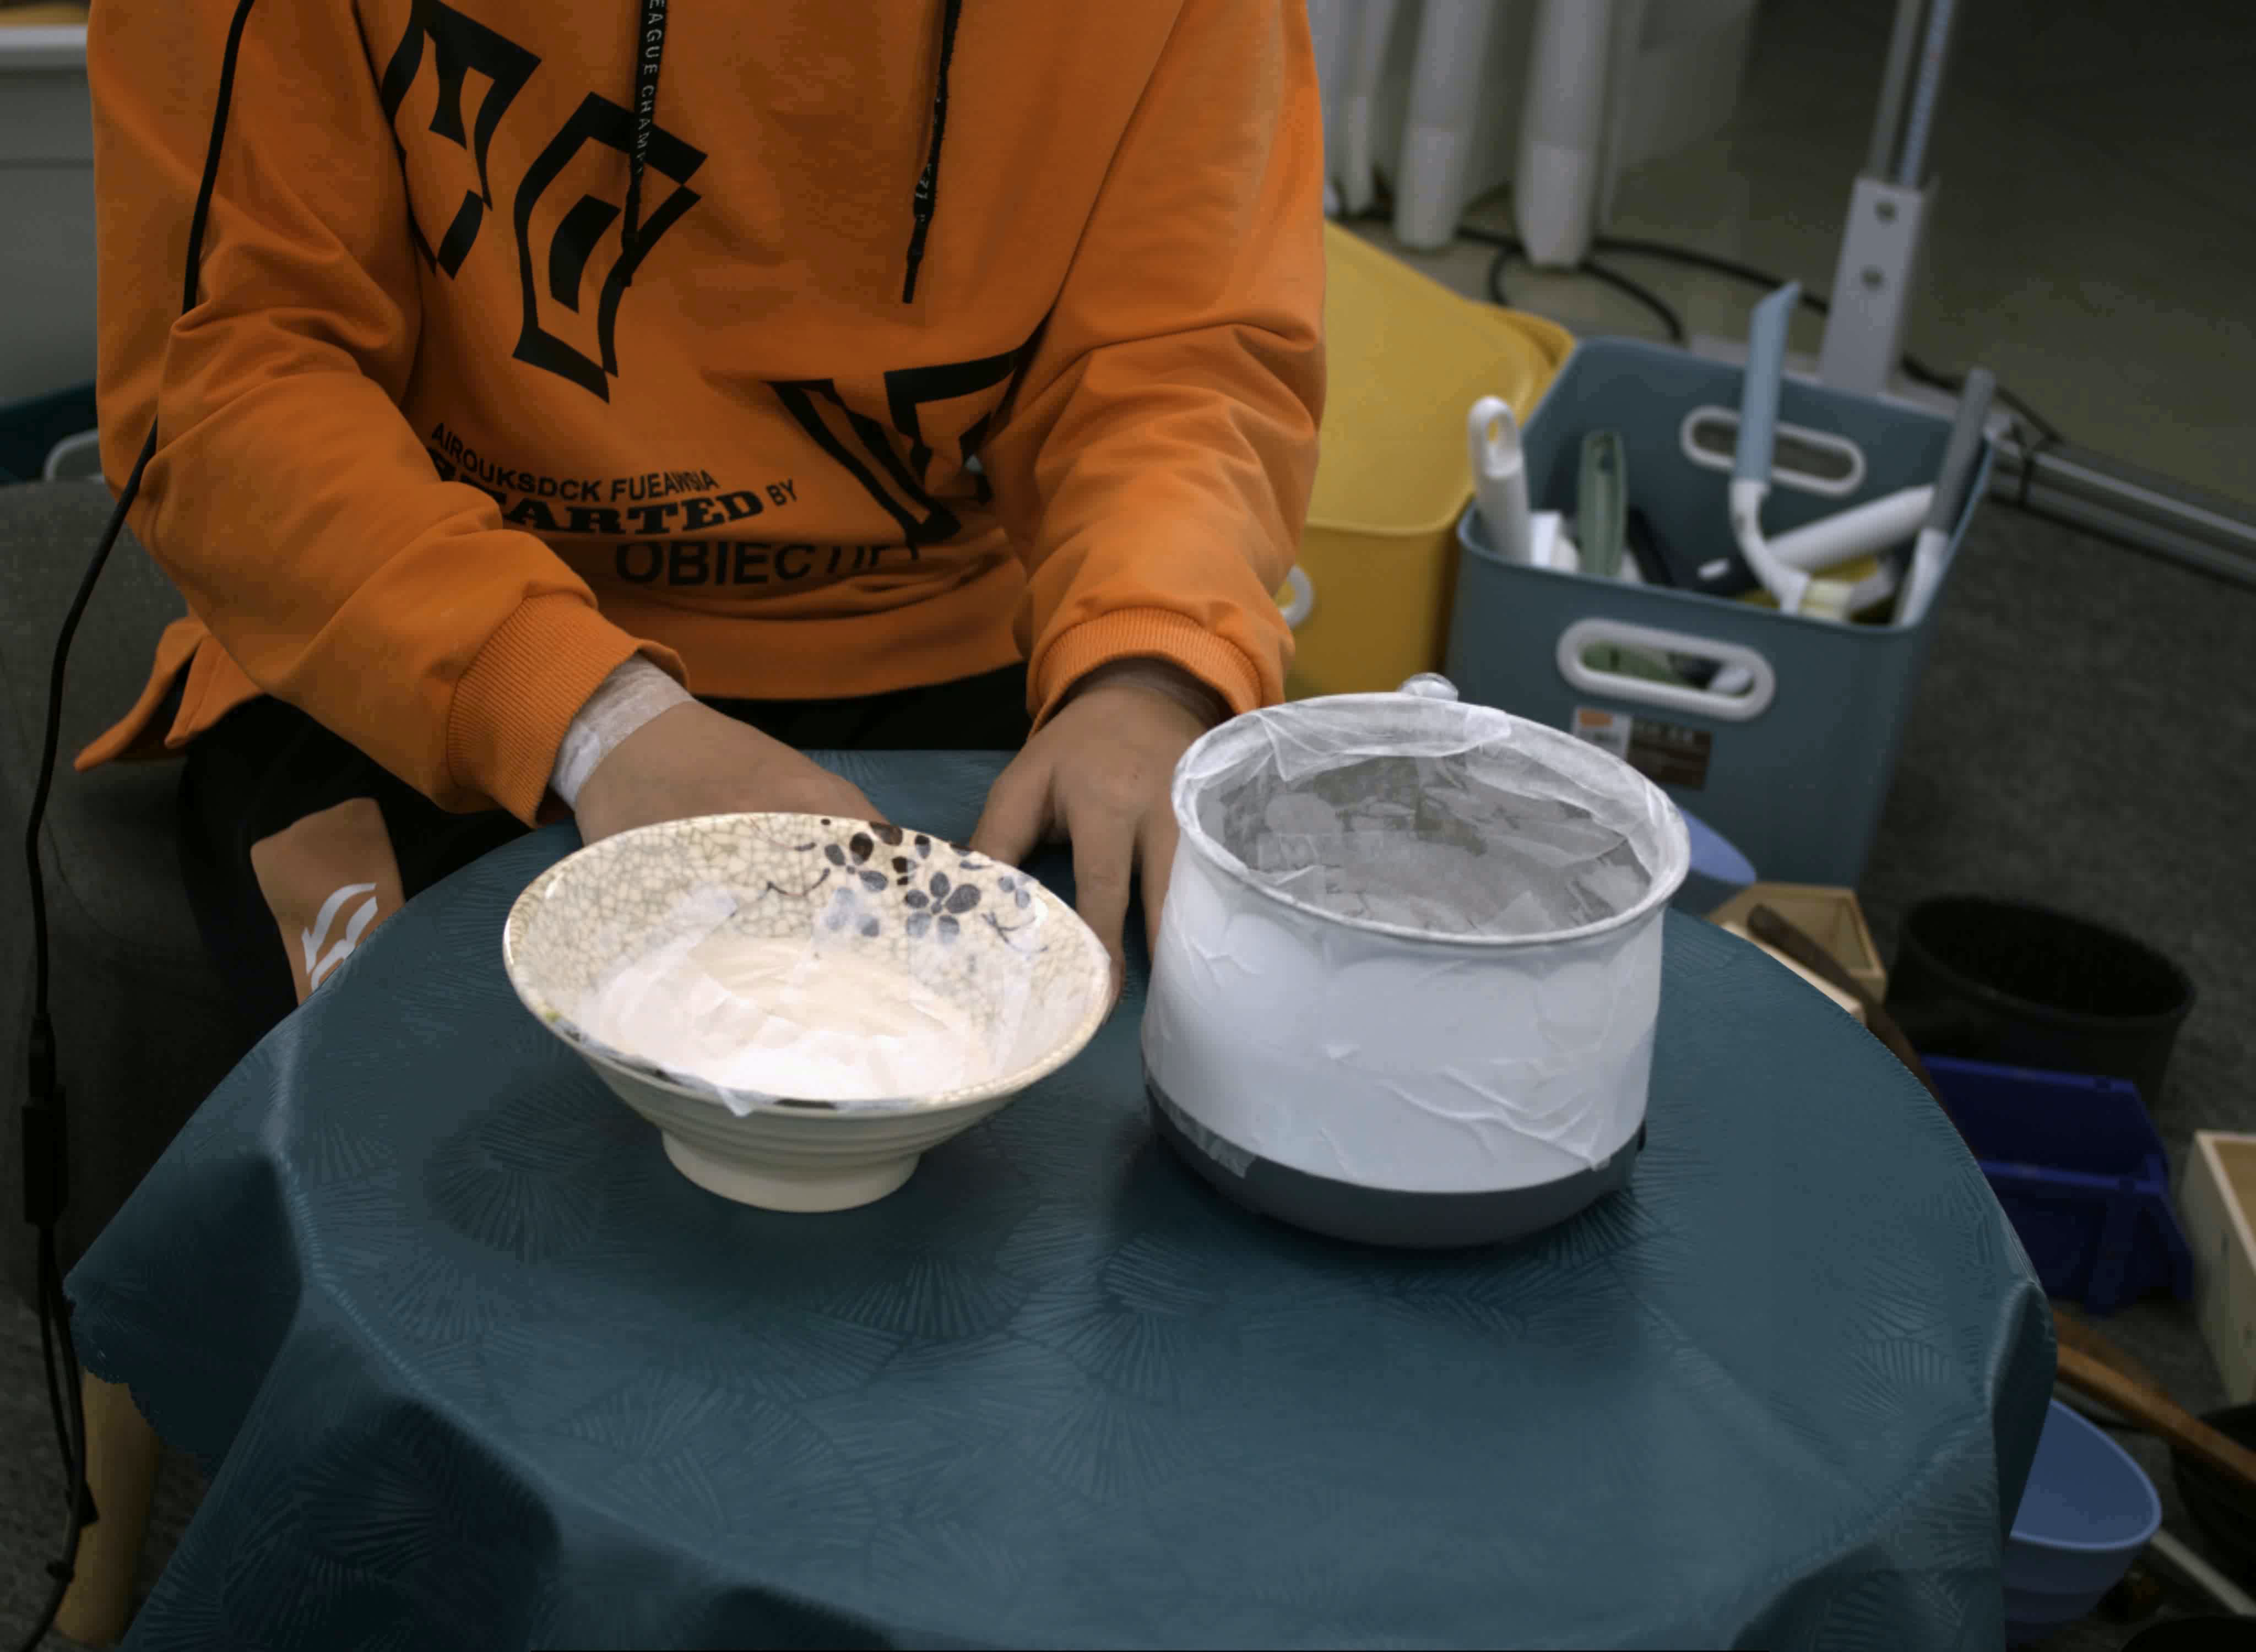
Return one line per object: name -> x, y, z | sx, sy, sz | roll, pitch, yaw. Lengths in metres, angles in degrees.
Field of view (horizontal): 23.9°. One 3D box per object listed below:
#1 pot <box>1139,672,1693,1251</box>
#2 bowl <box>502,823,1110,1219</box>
pot -> 0.095, 0.039, 1.840 | 0.178, 0.136, 0.235 | 6, 27, -2
bowl -> -0.110, 0.077, 1.787 | 0.203, 0.078, 0.205 | 4, 25, -2
